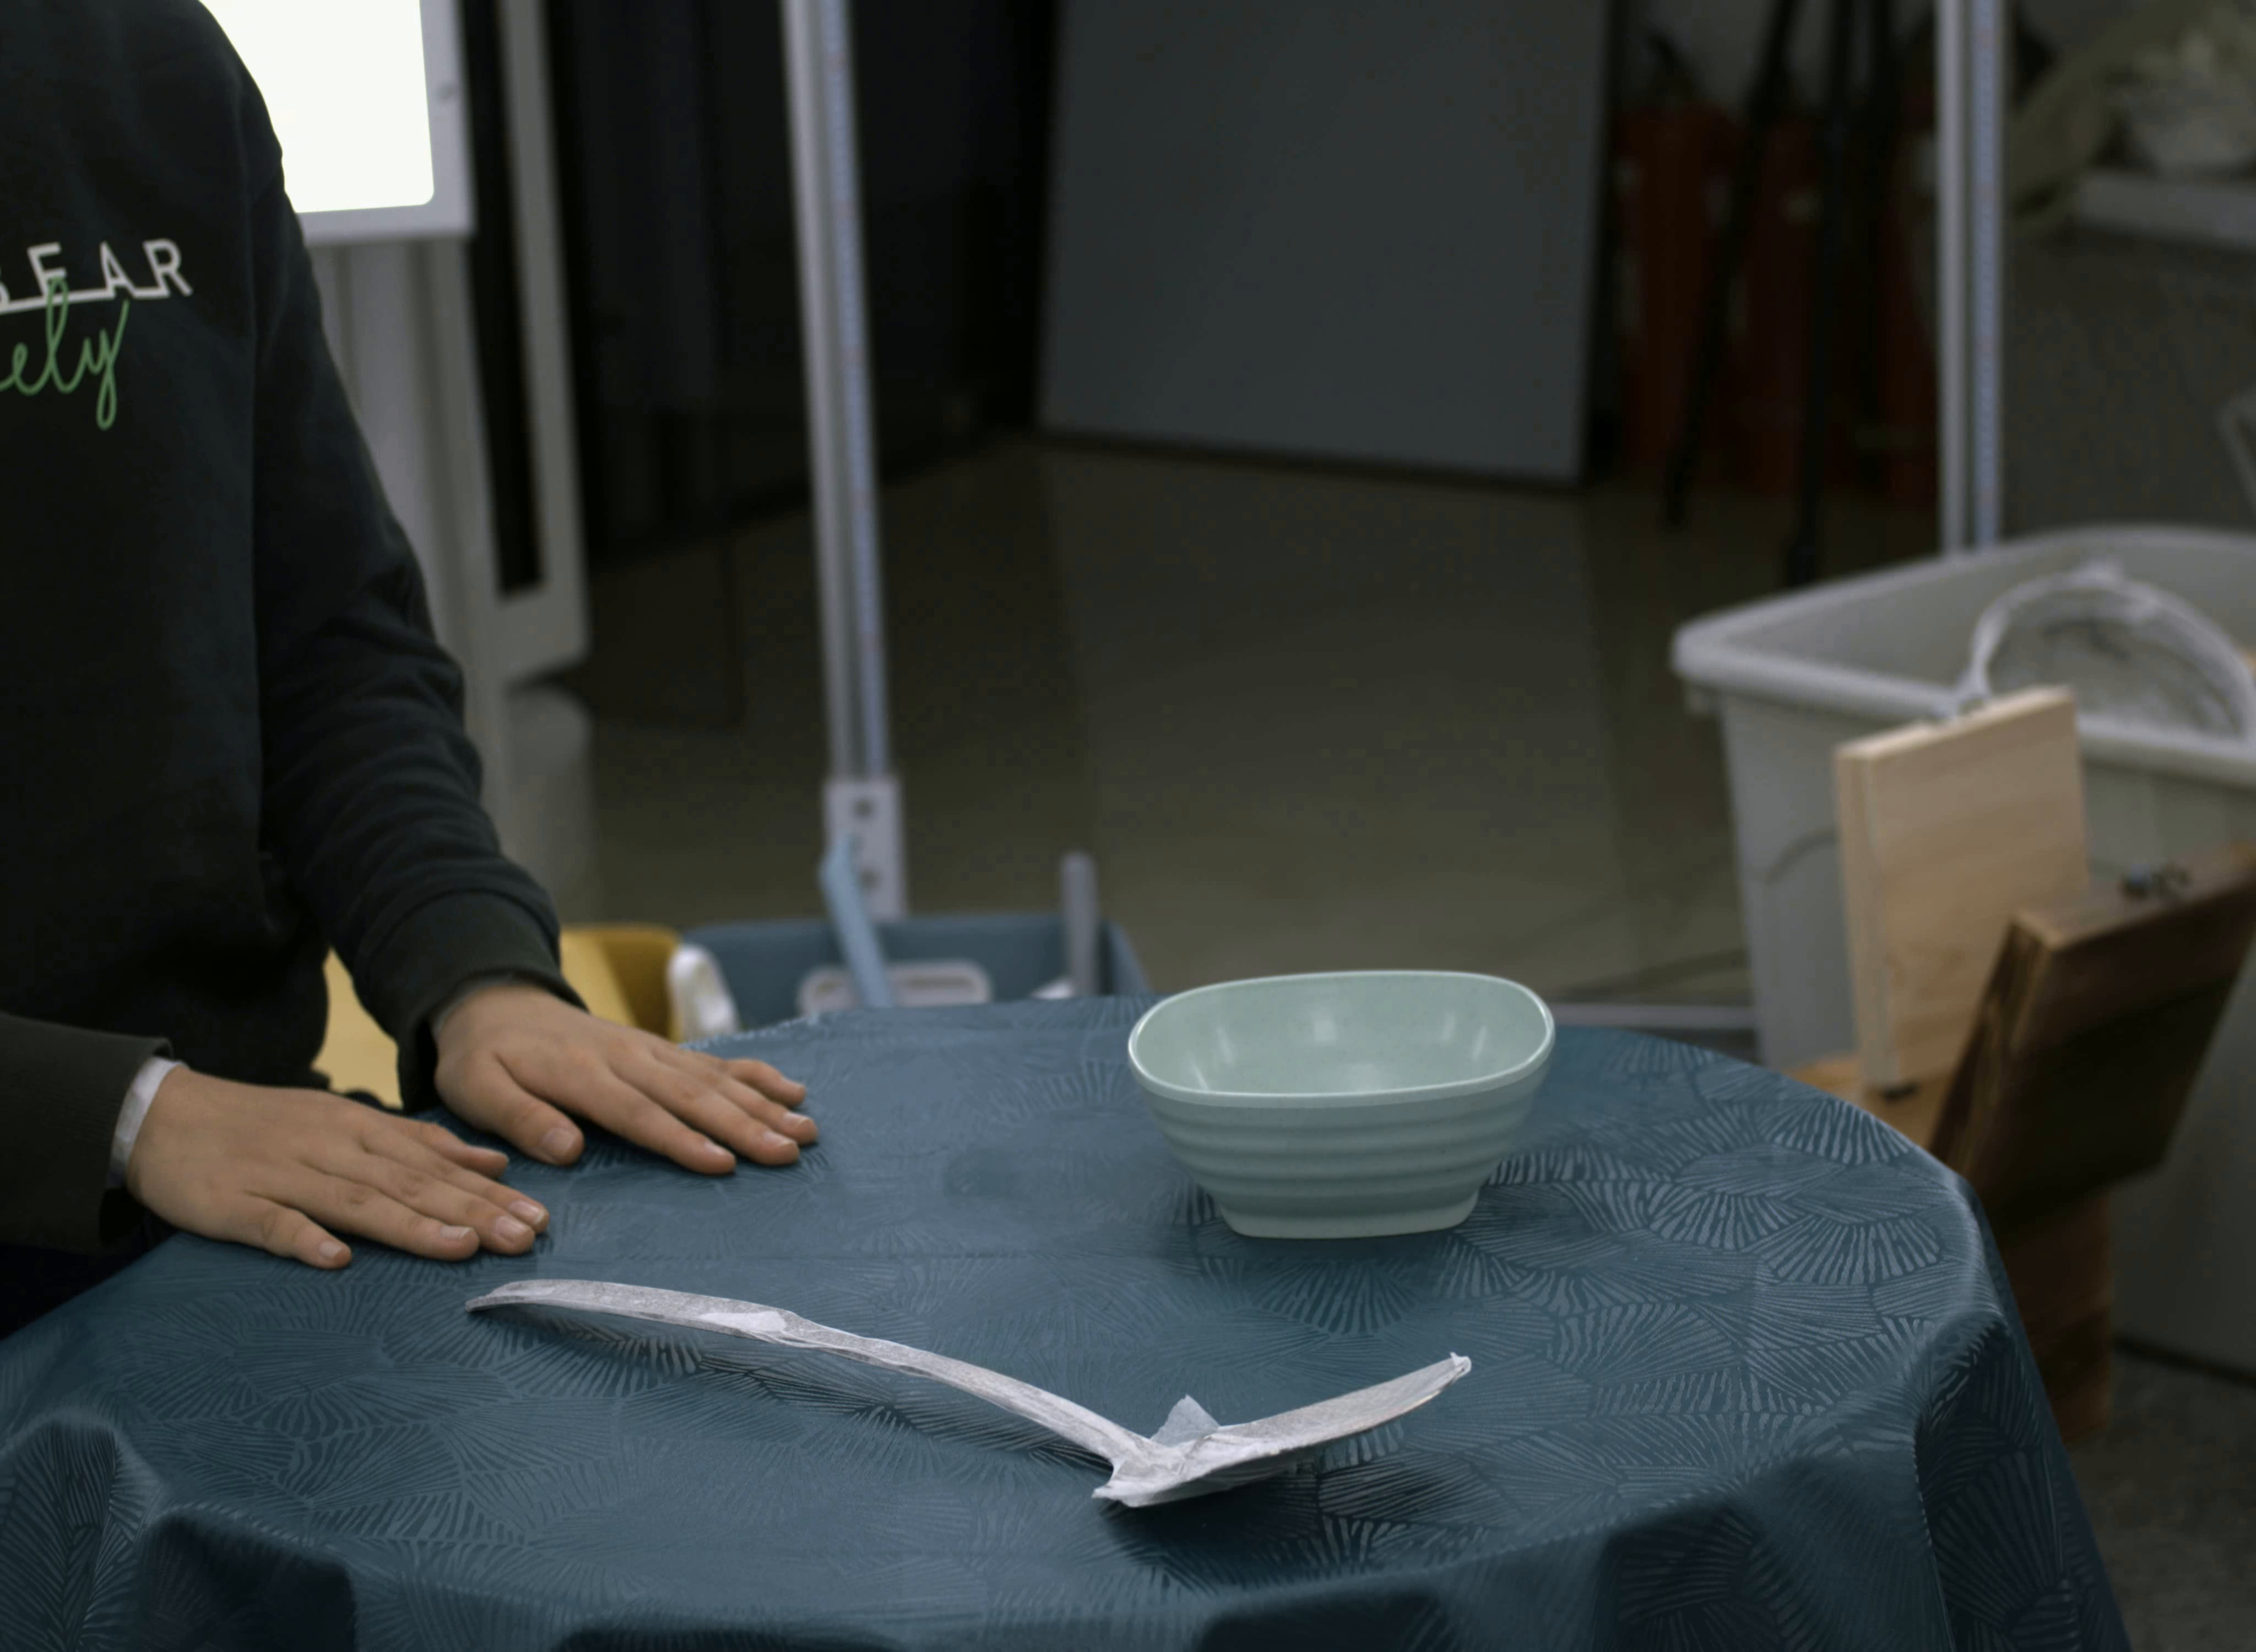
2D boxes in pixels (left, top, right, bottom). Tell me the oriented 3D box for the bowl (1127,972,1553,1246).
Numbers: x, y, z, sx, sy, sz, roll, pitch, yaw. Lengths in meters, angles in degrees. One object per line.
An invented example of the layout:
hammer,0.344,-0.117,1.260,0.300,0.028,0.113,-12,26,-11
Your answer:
bowl,0.069,0.095,1.743,0.149,0.059,0.152,-2,15,0

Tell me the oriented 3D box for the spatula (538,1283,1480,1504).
spatula,-0.056,0.154,1.576,0.368,0.045,0.097,9,21,42
